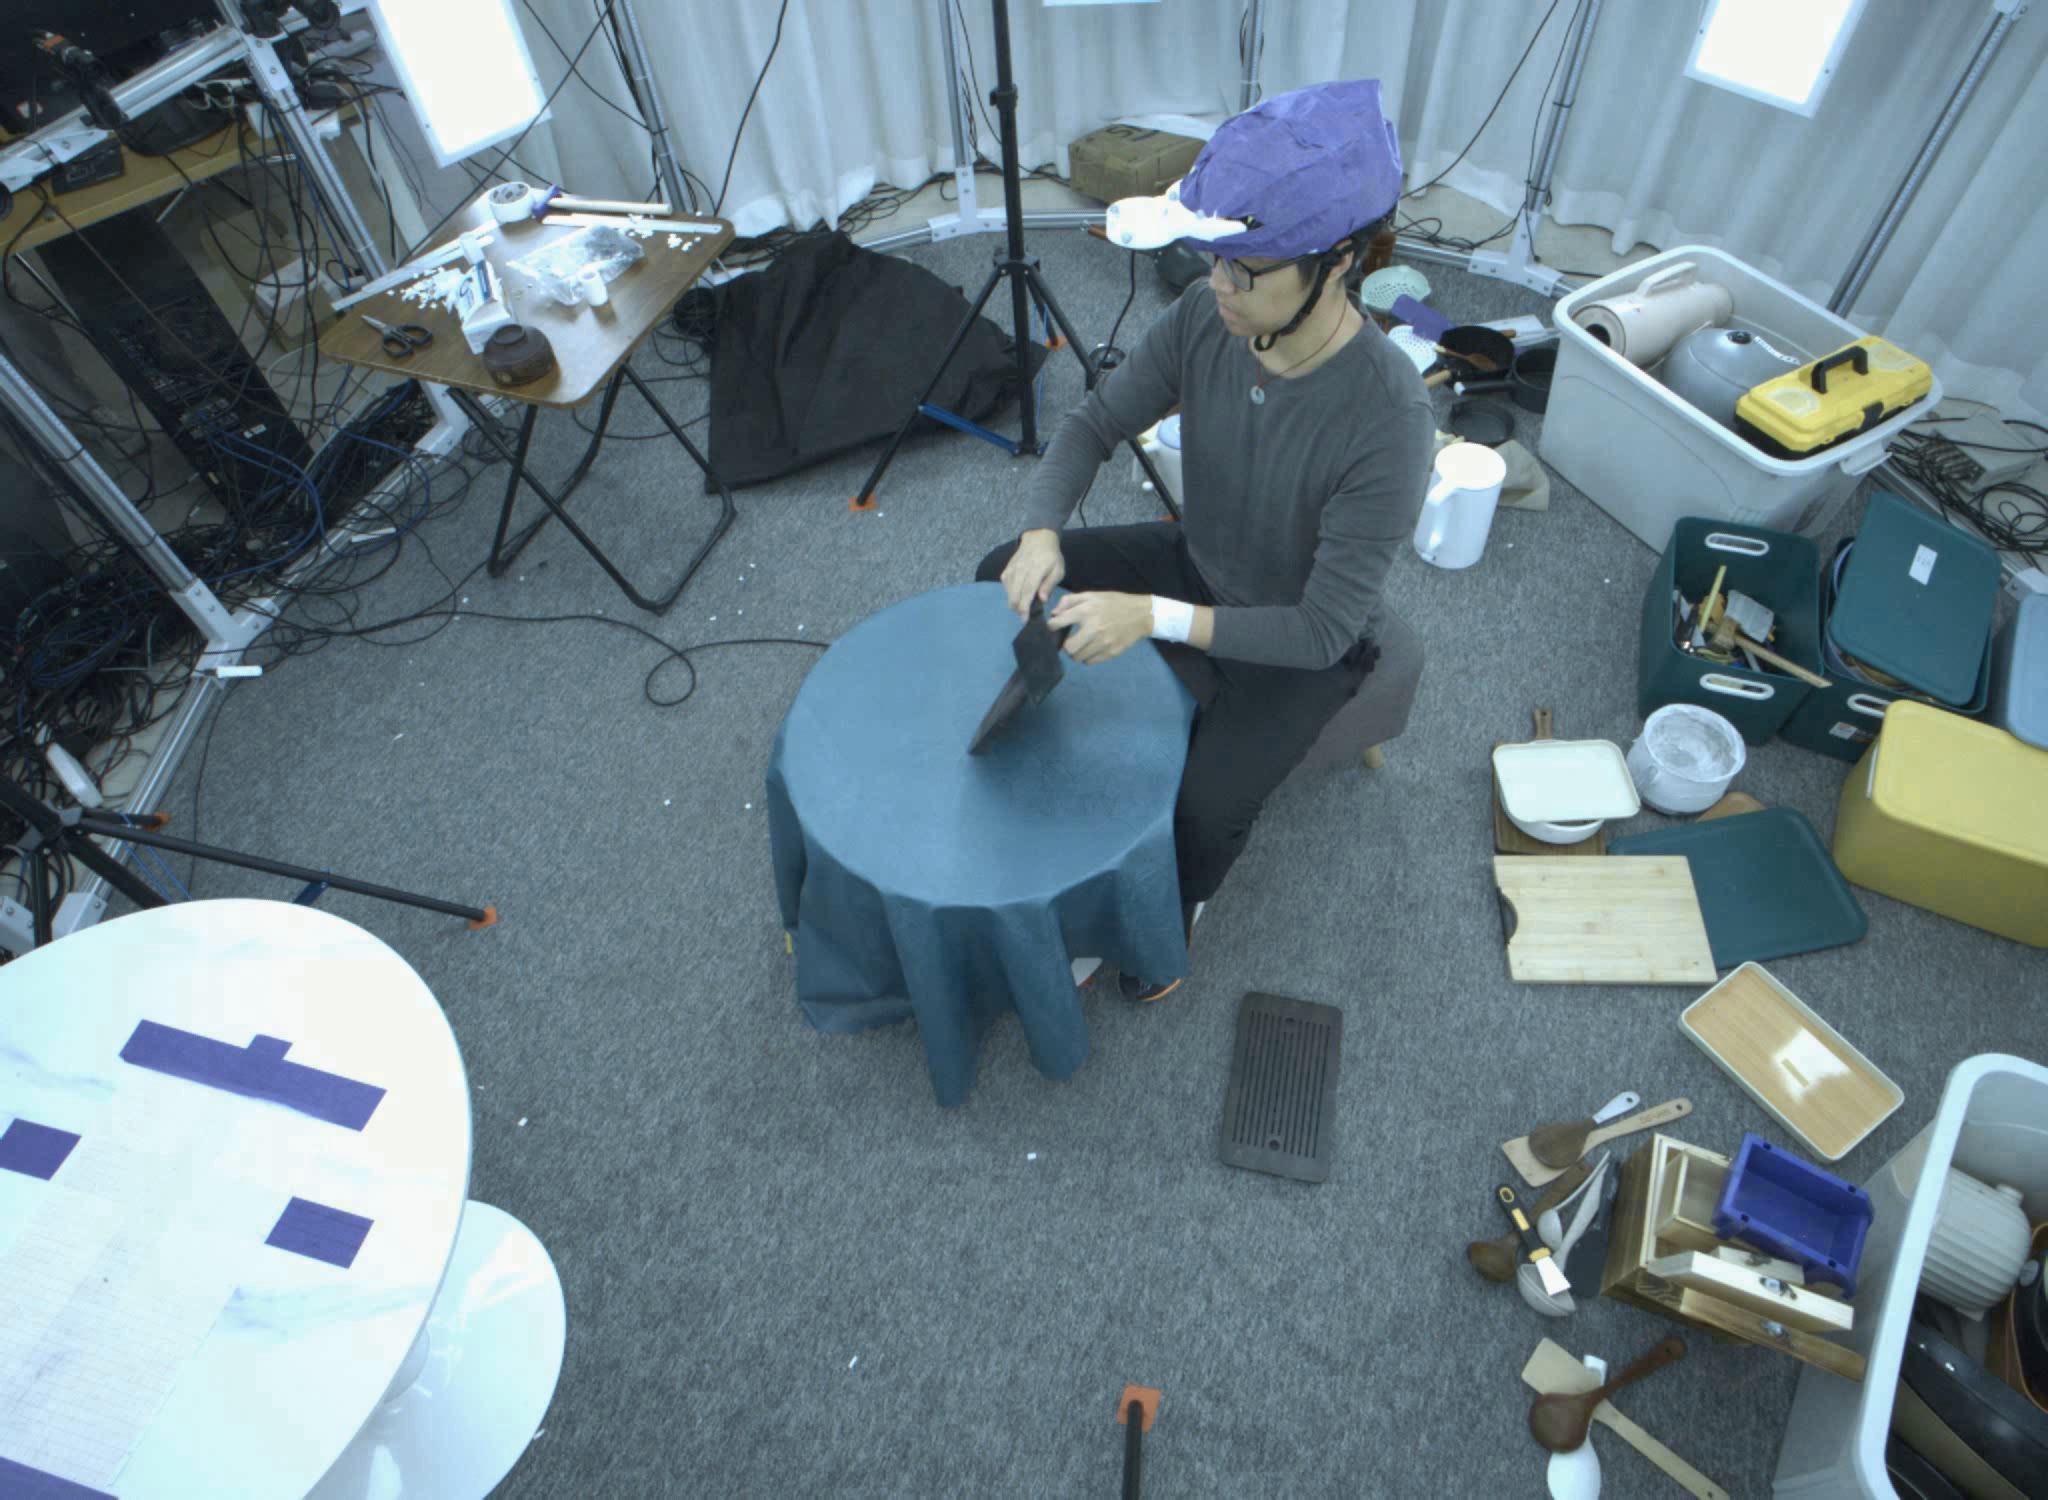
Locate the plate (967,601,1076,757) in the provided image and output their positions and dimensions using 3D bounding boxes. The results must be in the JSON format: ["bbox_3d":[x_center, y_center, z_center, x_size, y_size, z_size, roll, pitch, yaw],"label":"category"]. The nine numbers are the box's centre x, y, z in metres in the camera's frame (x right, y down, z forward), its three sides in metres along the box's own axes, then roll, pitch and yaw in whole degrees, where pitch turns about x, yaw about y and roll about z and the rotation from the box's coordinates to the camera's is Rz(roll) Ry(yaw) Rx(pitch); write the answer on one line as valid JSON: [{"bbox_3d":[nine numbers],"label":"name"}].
[{"bbox_3d":[-0.002,-0.096,1.729,0.029,0.253,0.255,33,59,-6],"label":"plate"}]

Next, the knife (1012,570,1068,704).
[{"bbox_3d":[0.012,-0.159,1.644,0.021,0.080,0.298,31,27,-28],"label":"knife"}]
